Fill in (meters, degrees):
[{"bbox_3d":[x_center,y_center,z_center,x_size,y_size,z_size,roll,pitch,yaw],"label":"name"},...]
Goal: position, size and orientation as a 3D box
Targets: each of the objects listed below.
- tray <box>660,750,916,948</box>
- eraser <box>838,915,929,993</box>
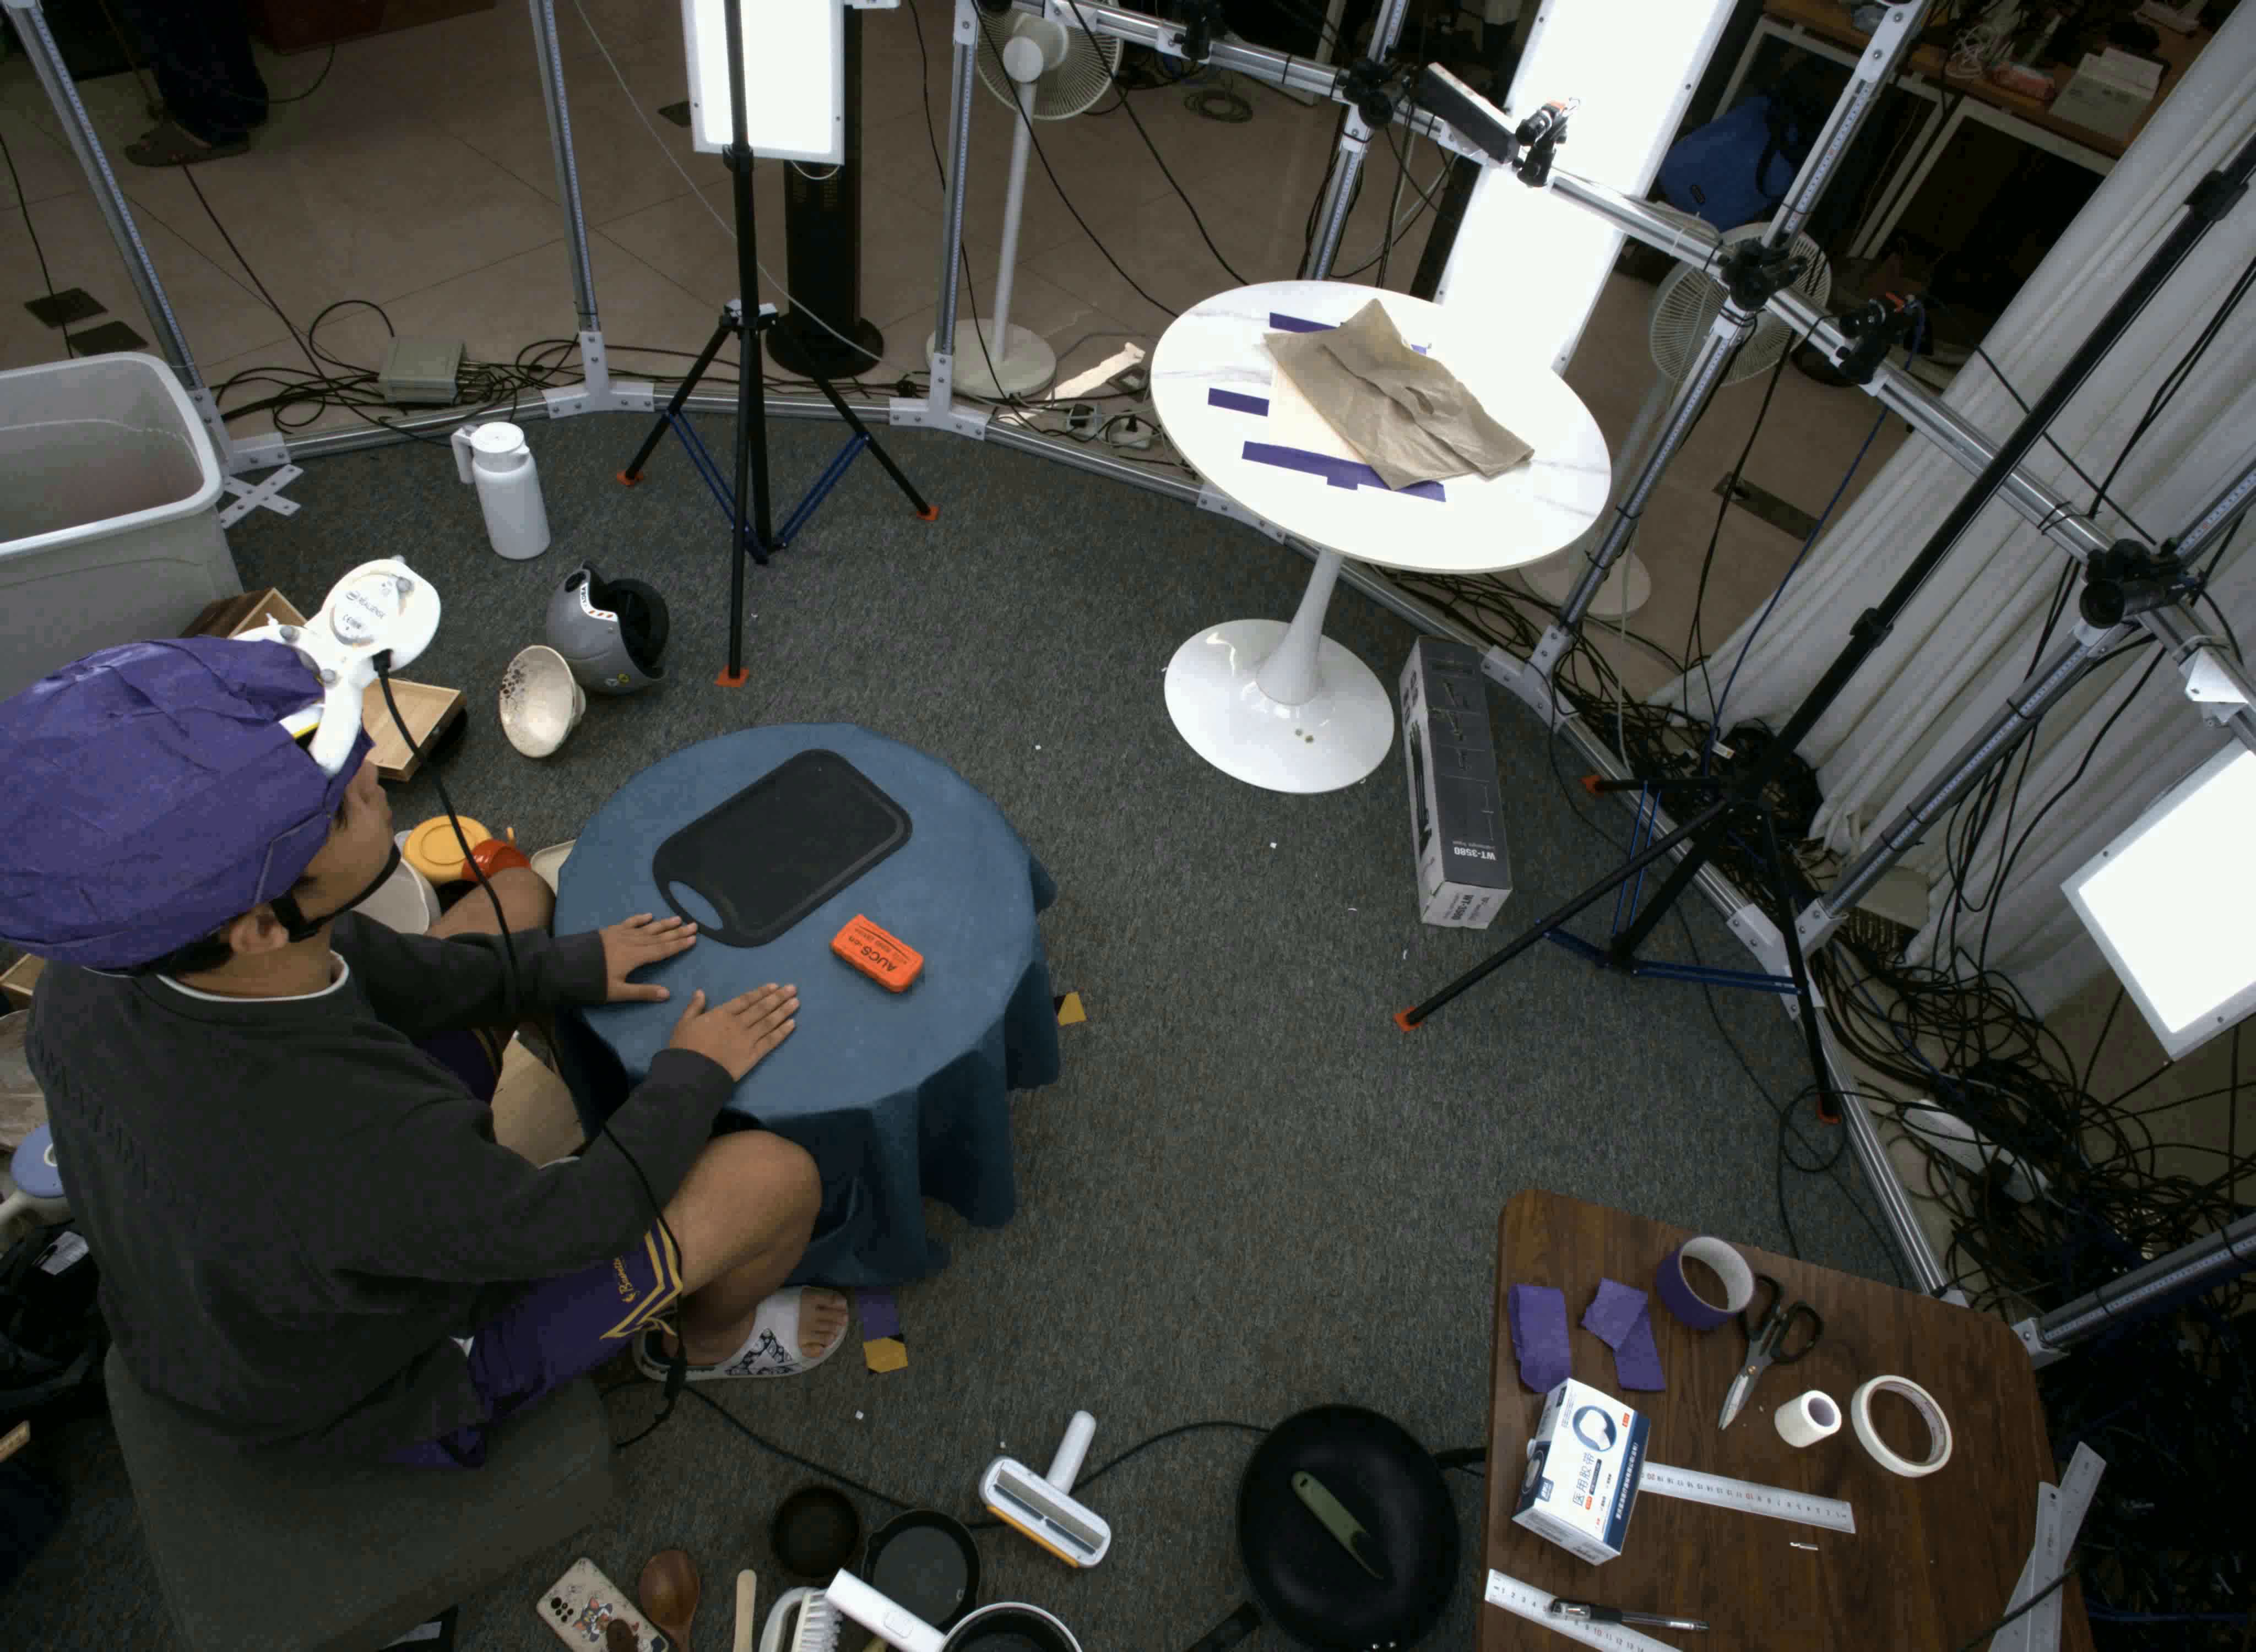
[{"bbox_3d":[-0.448,0.026,1.700,0.206,0.010,0.326,40,54,16],"label":"tray"},{"bbox_3d":[-0.306,0.157,1.623,0.106,0.023,0.059,31,51,11],"label":"eraser"}]
